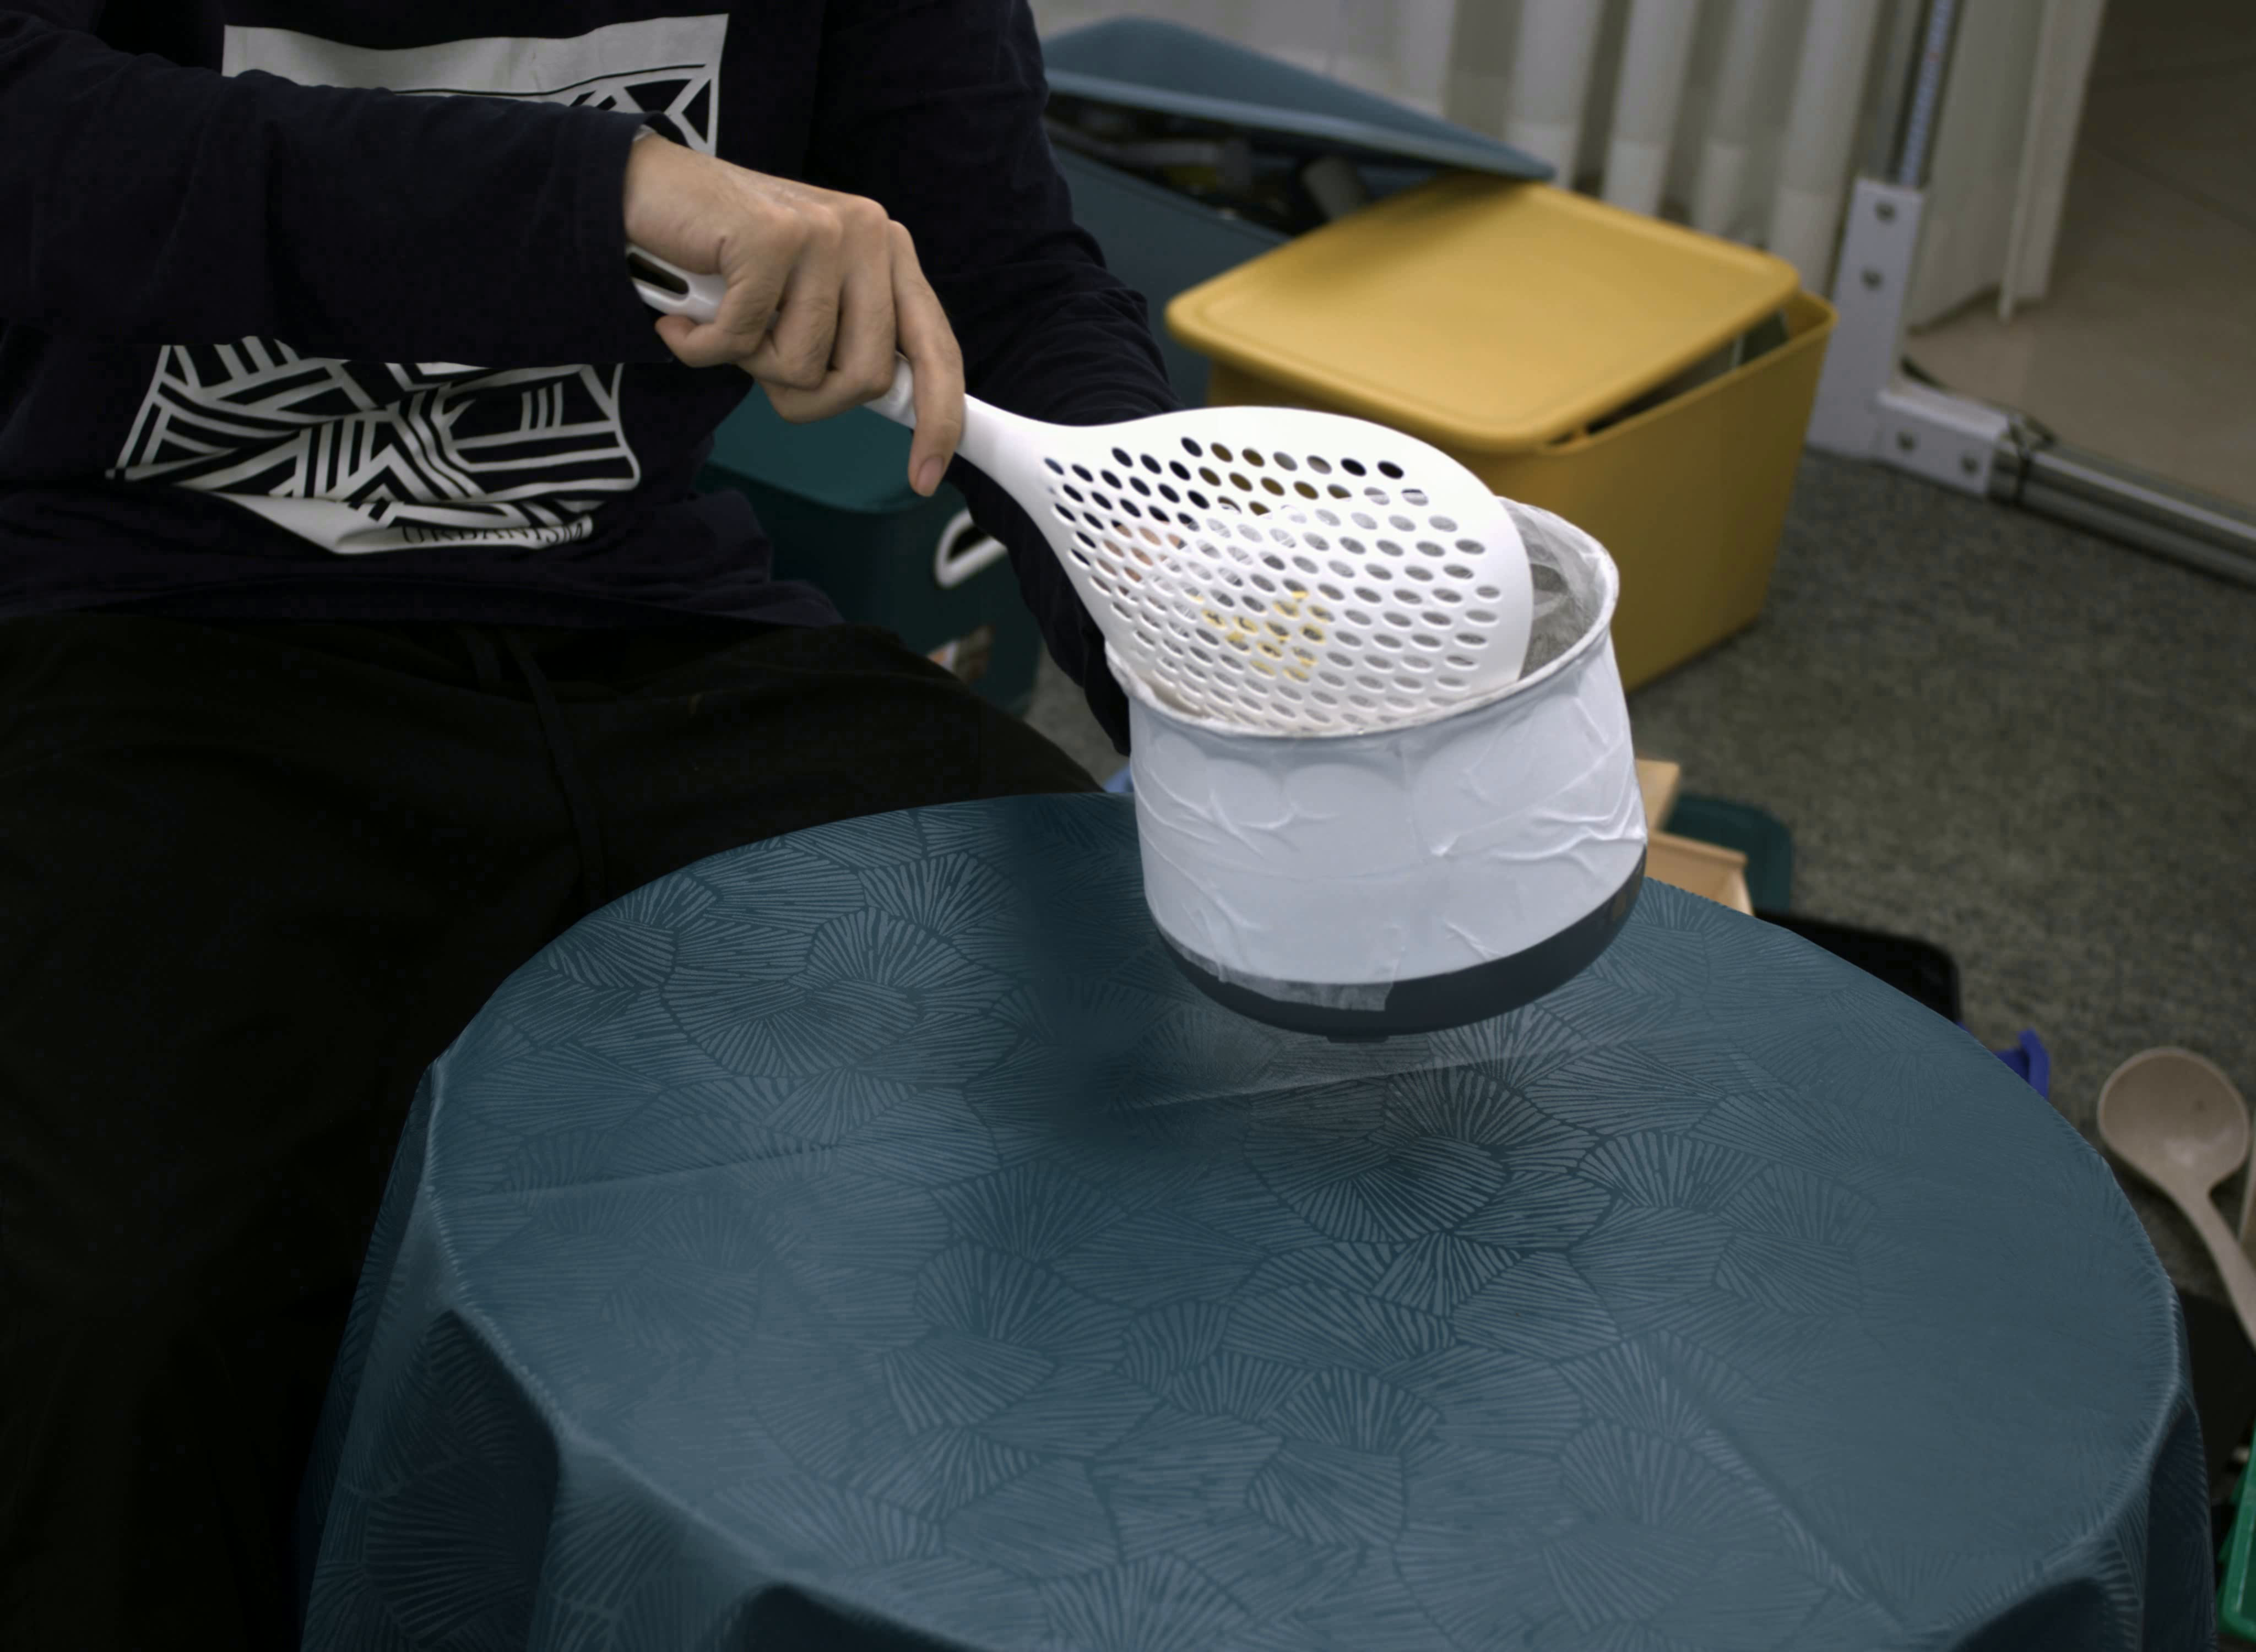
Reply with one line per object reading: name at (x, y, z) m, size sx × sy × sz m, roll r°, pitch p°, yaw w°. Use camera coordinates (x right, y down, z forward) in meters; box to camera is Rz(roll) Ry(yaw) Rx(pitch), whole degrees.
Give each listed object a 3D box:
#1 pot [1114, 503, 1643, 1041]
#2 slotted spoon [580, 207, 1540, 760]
pot at (0.074, -0.030, 1.864) m, size 0.178 × 0.136 × 0.236 m, roll -19°, pitch 30°, yaw -24°
slotted spoon at (-0.029, -0.121, 1.778) m, size 0.349 × 0.136 × 0.050 m, roll 29°, pitch 26°, yaw 13°
